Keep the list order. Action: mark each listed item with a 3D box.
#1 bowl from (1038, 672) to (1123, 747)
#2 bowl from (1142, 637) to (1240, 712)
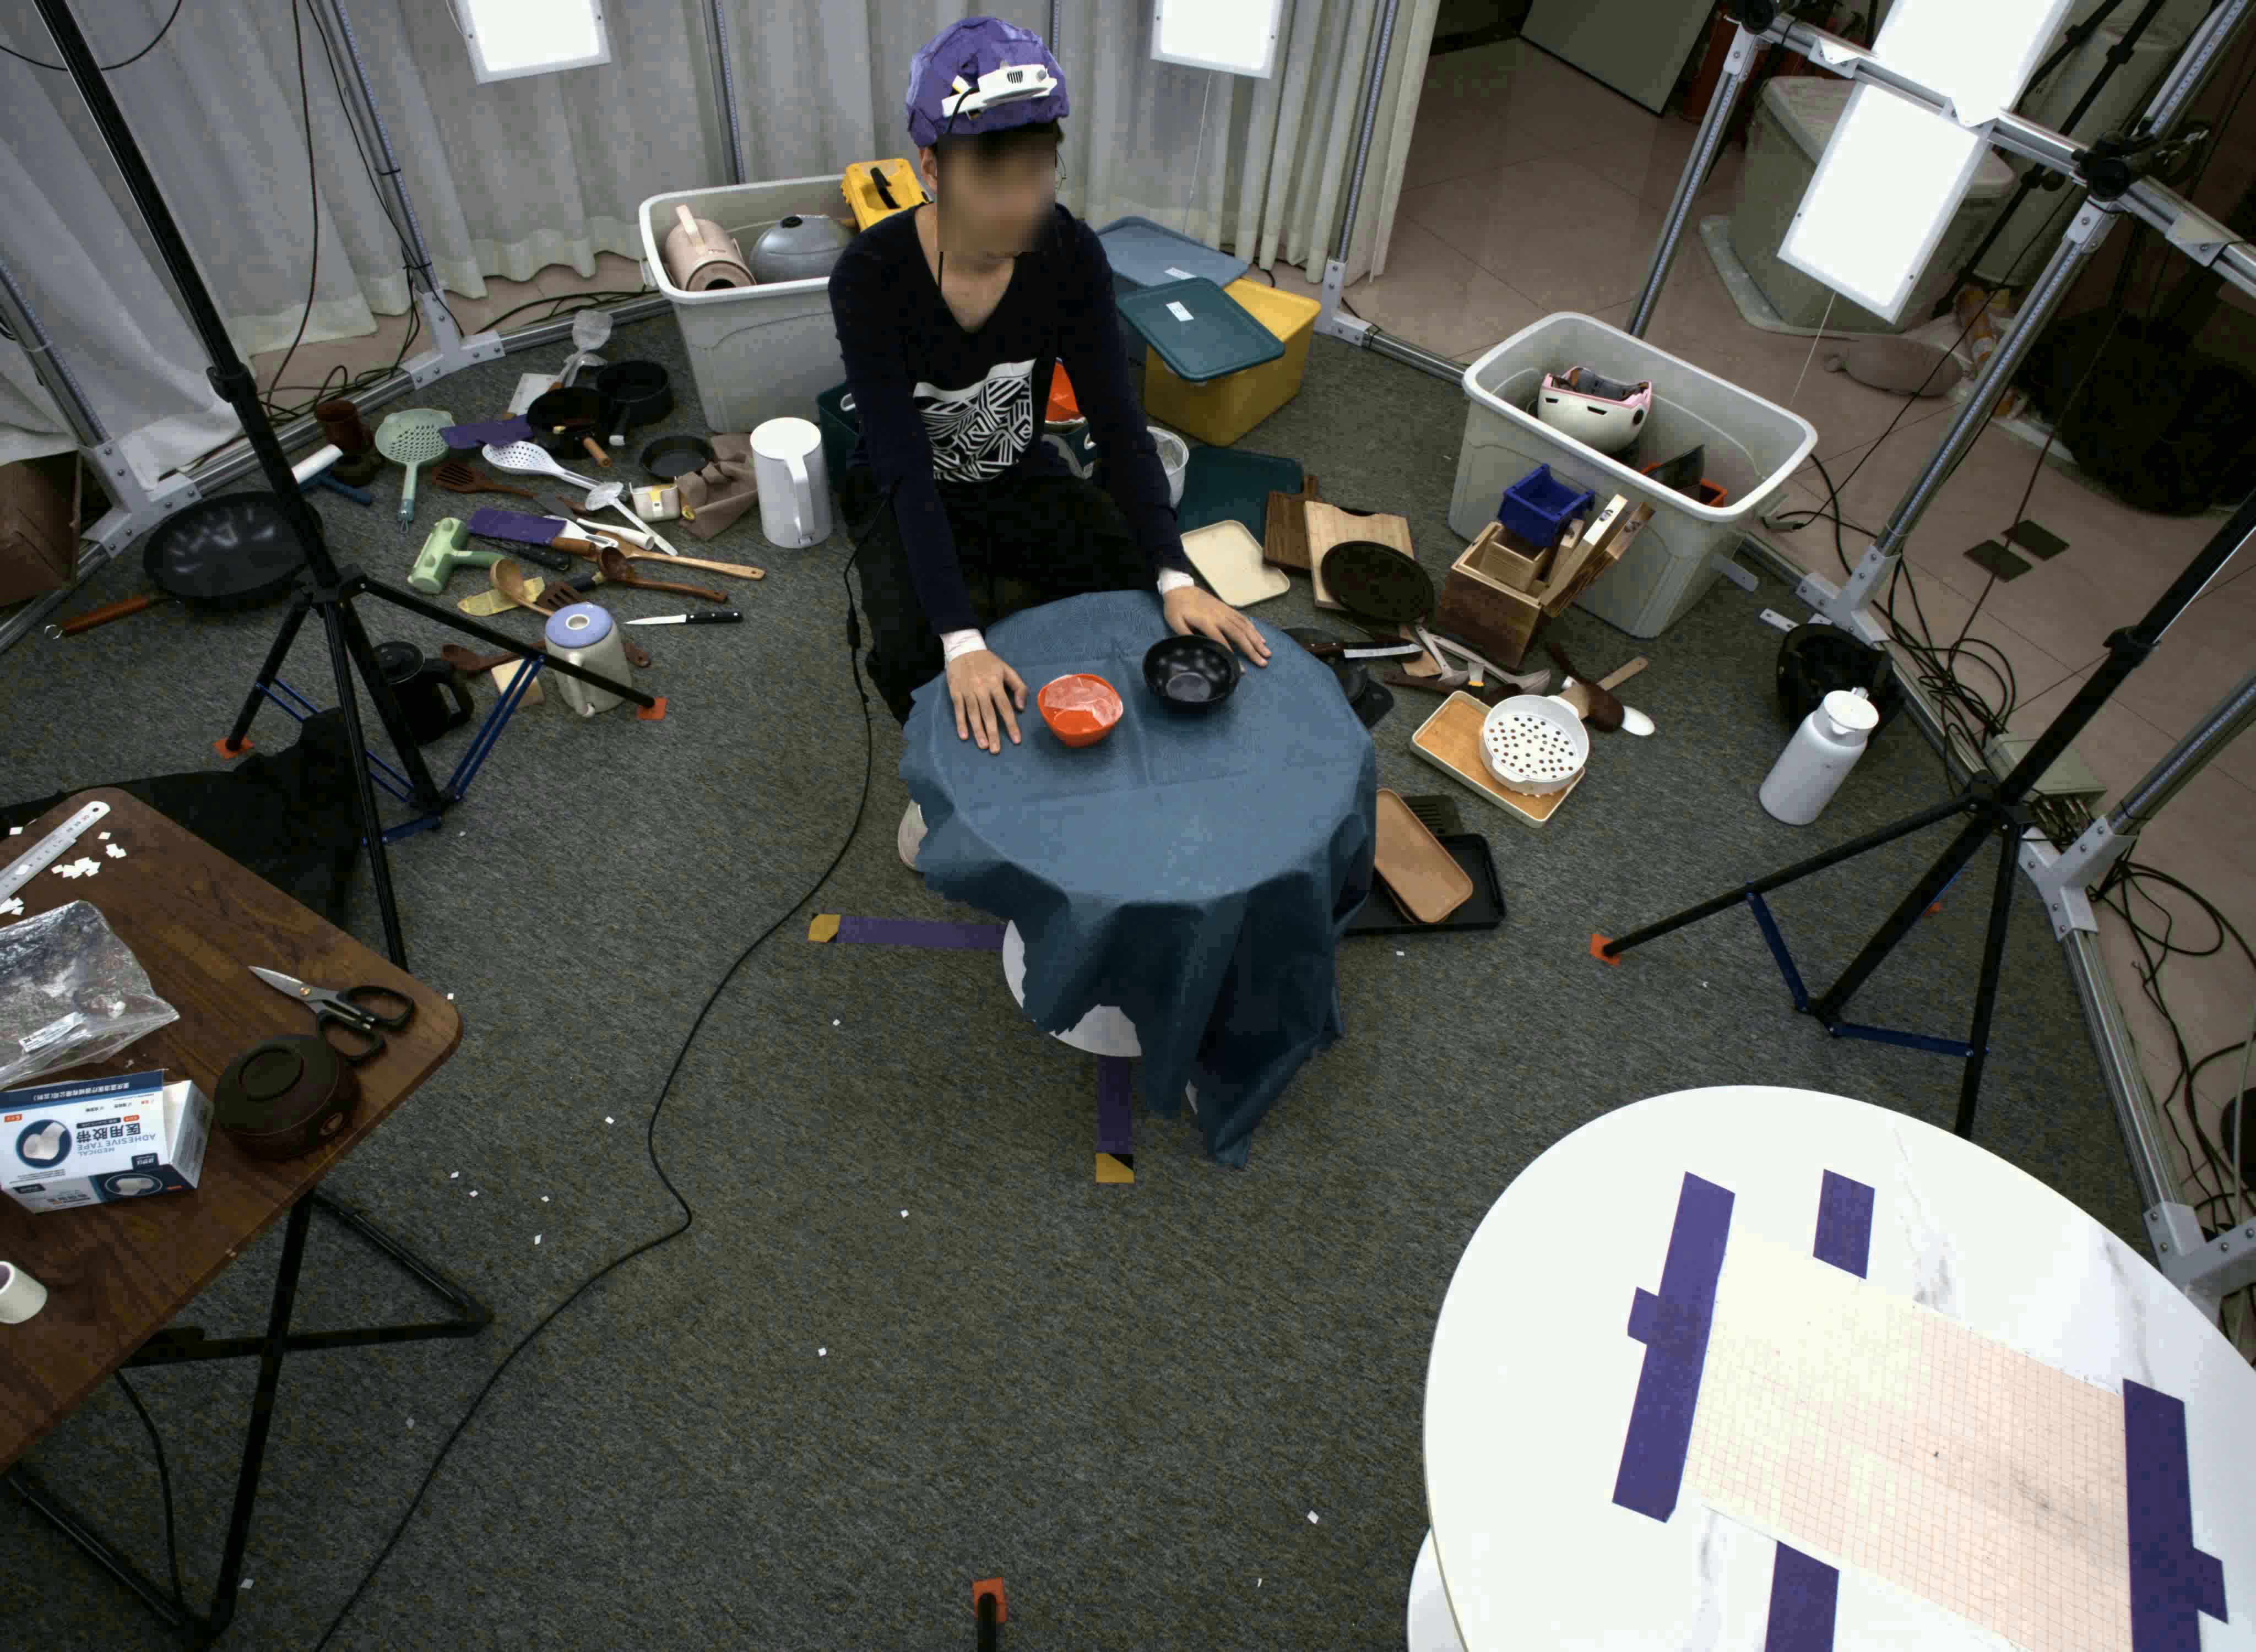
[{"bbox_3d":[-0.066,-0.153,1.762,0.119,0.050,0.122,2,51,-2],"label":"bowl"},{"bbox_3d":[0.088,-0.206,1.824,0.140,0.048,0.143,1,45,-1],"label":"bowl"}]
